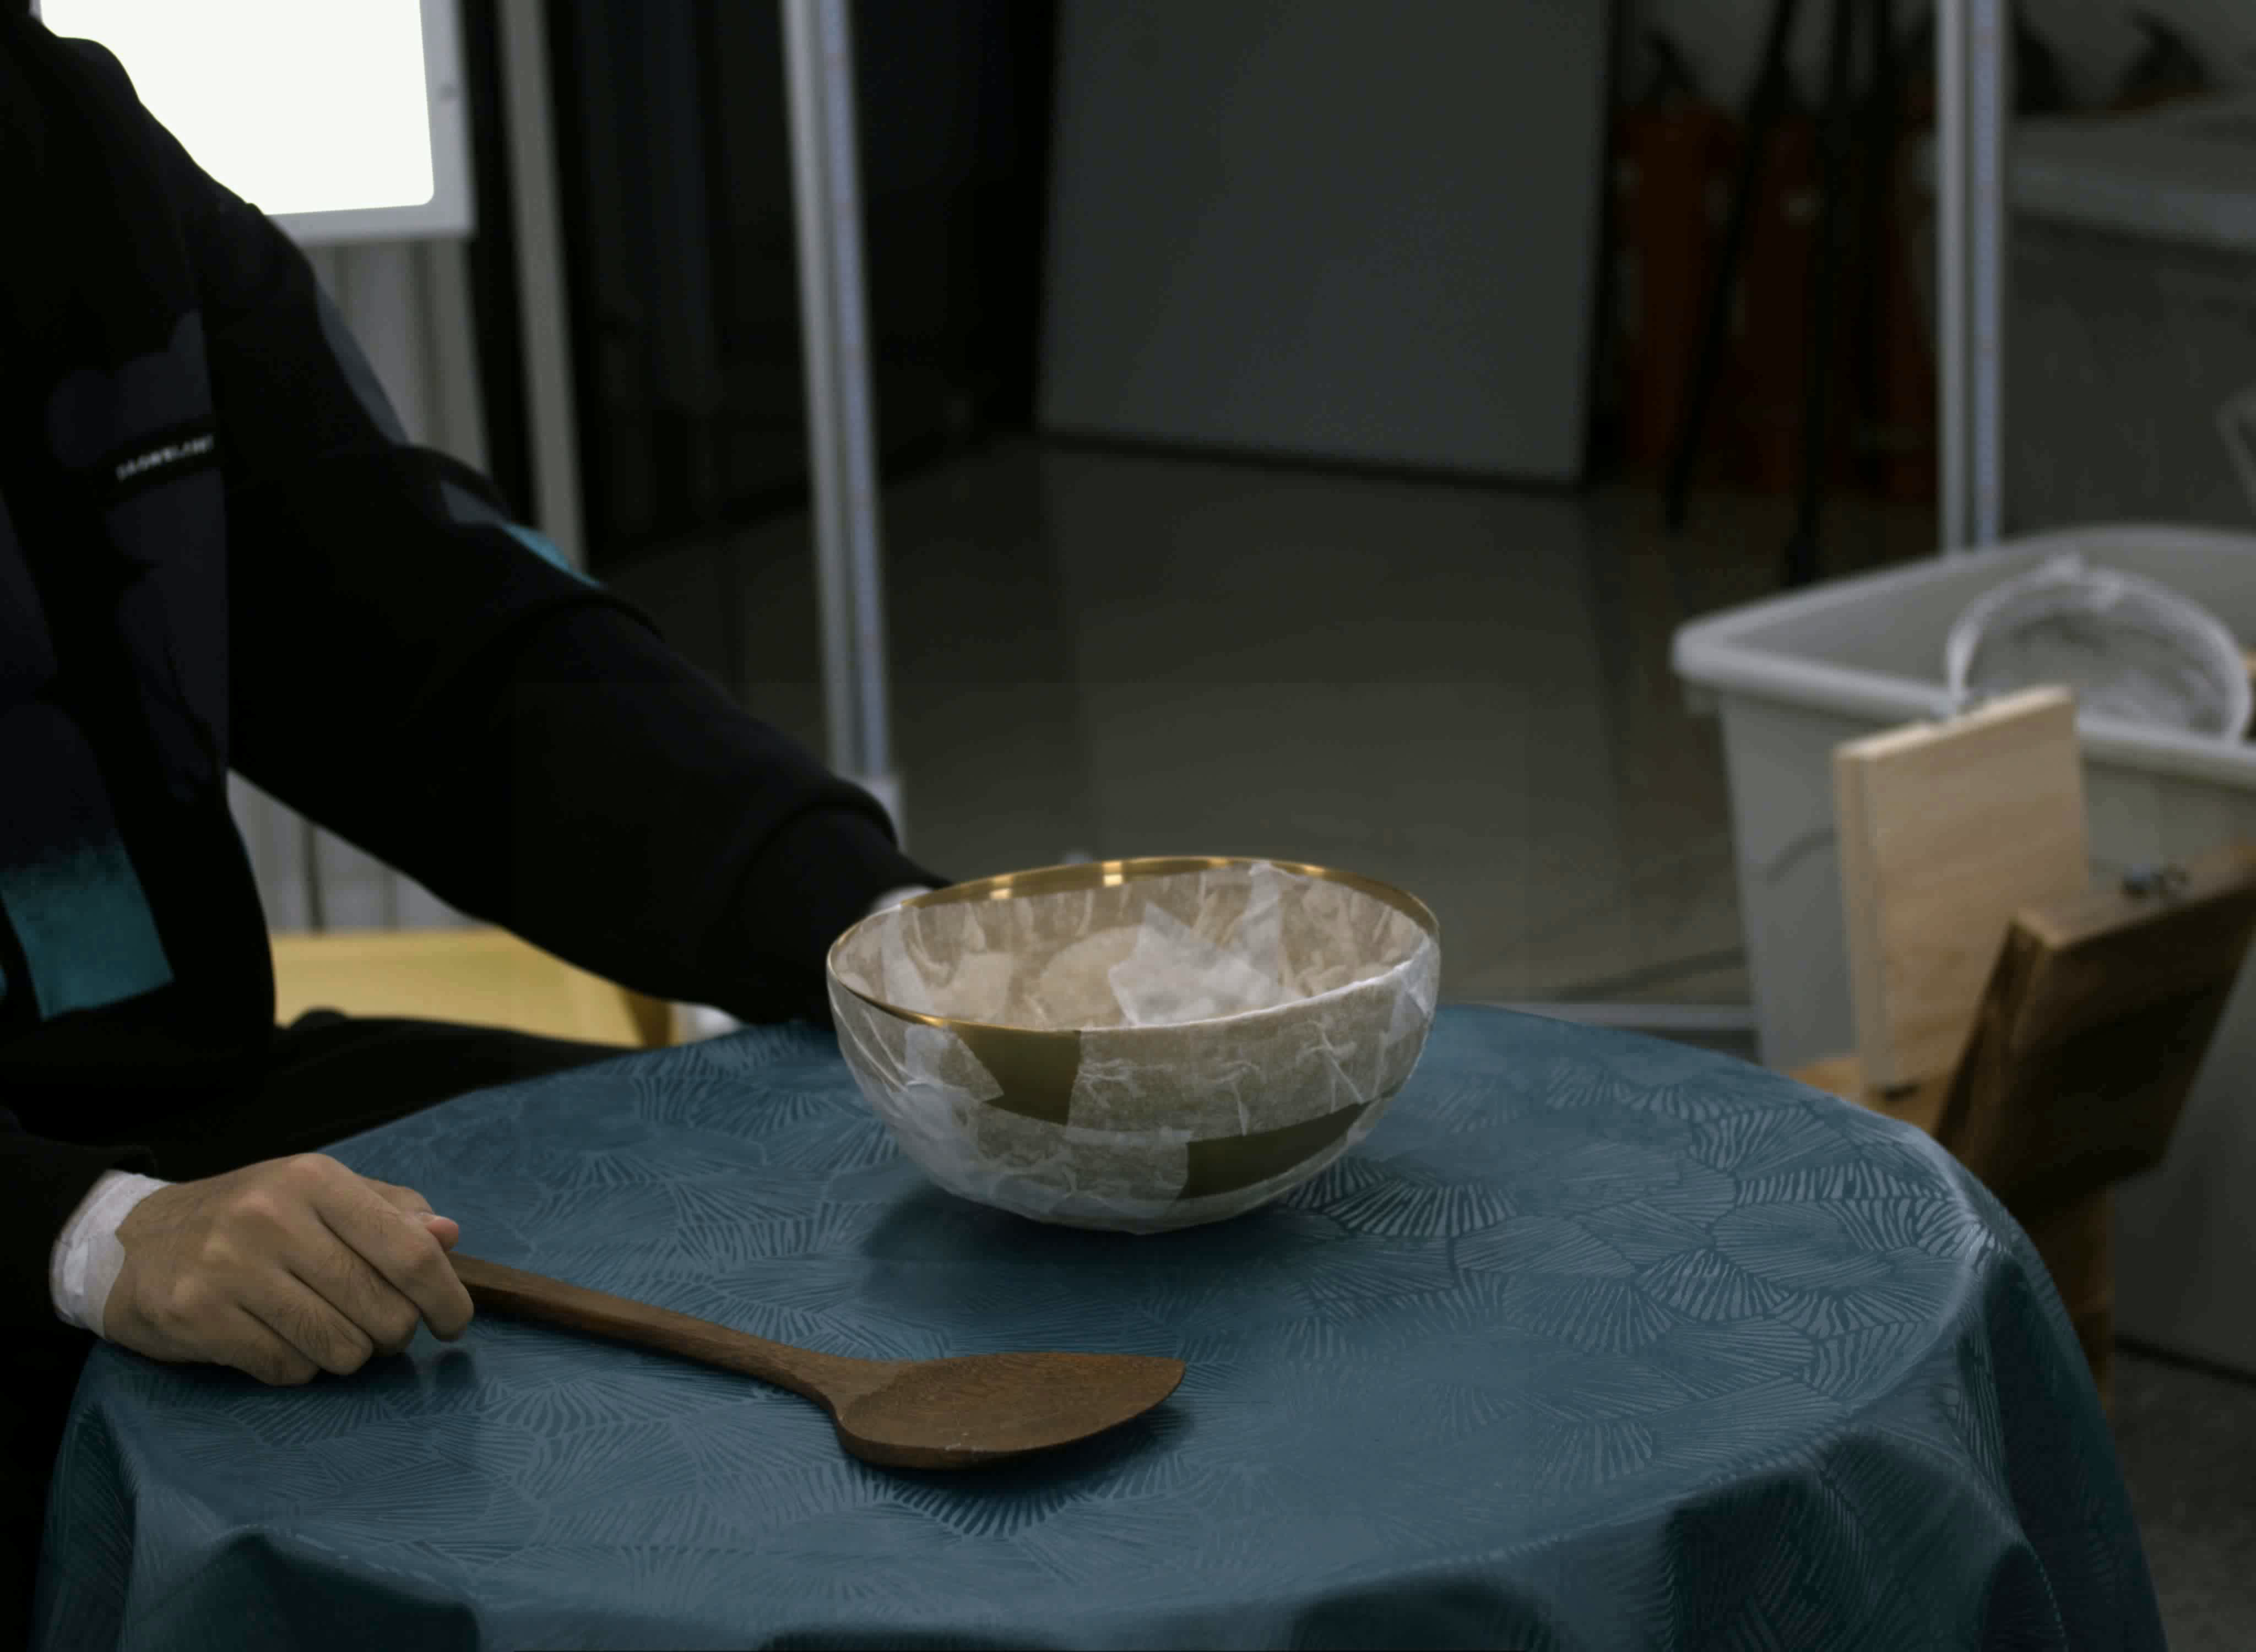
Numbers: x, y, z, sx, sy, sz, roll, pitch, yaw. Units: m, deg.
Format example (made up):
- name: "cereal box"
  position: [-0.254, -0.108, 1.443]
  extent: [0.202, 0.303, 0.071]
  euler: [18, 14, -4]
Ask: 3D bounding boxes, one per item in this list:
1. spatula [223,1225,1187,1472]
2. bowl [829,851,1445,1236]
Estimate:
- name: "spatula"
  position: [-0.147, 0.154, 1.652]
  extent: [0.389, 0.016, 0.094]
  euler: [8, 17, 40]
- name: "bowl"
  position: [0.005, 0.077, 1.751]
  extent: [0.212, 0.095, 0.215]
  euler: [-5, 14, 0]
